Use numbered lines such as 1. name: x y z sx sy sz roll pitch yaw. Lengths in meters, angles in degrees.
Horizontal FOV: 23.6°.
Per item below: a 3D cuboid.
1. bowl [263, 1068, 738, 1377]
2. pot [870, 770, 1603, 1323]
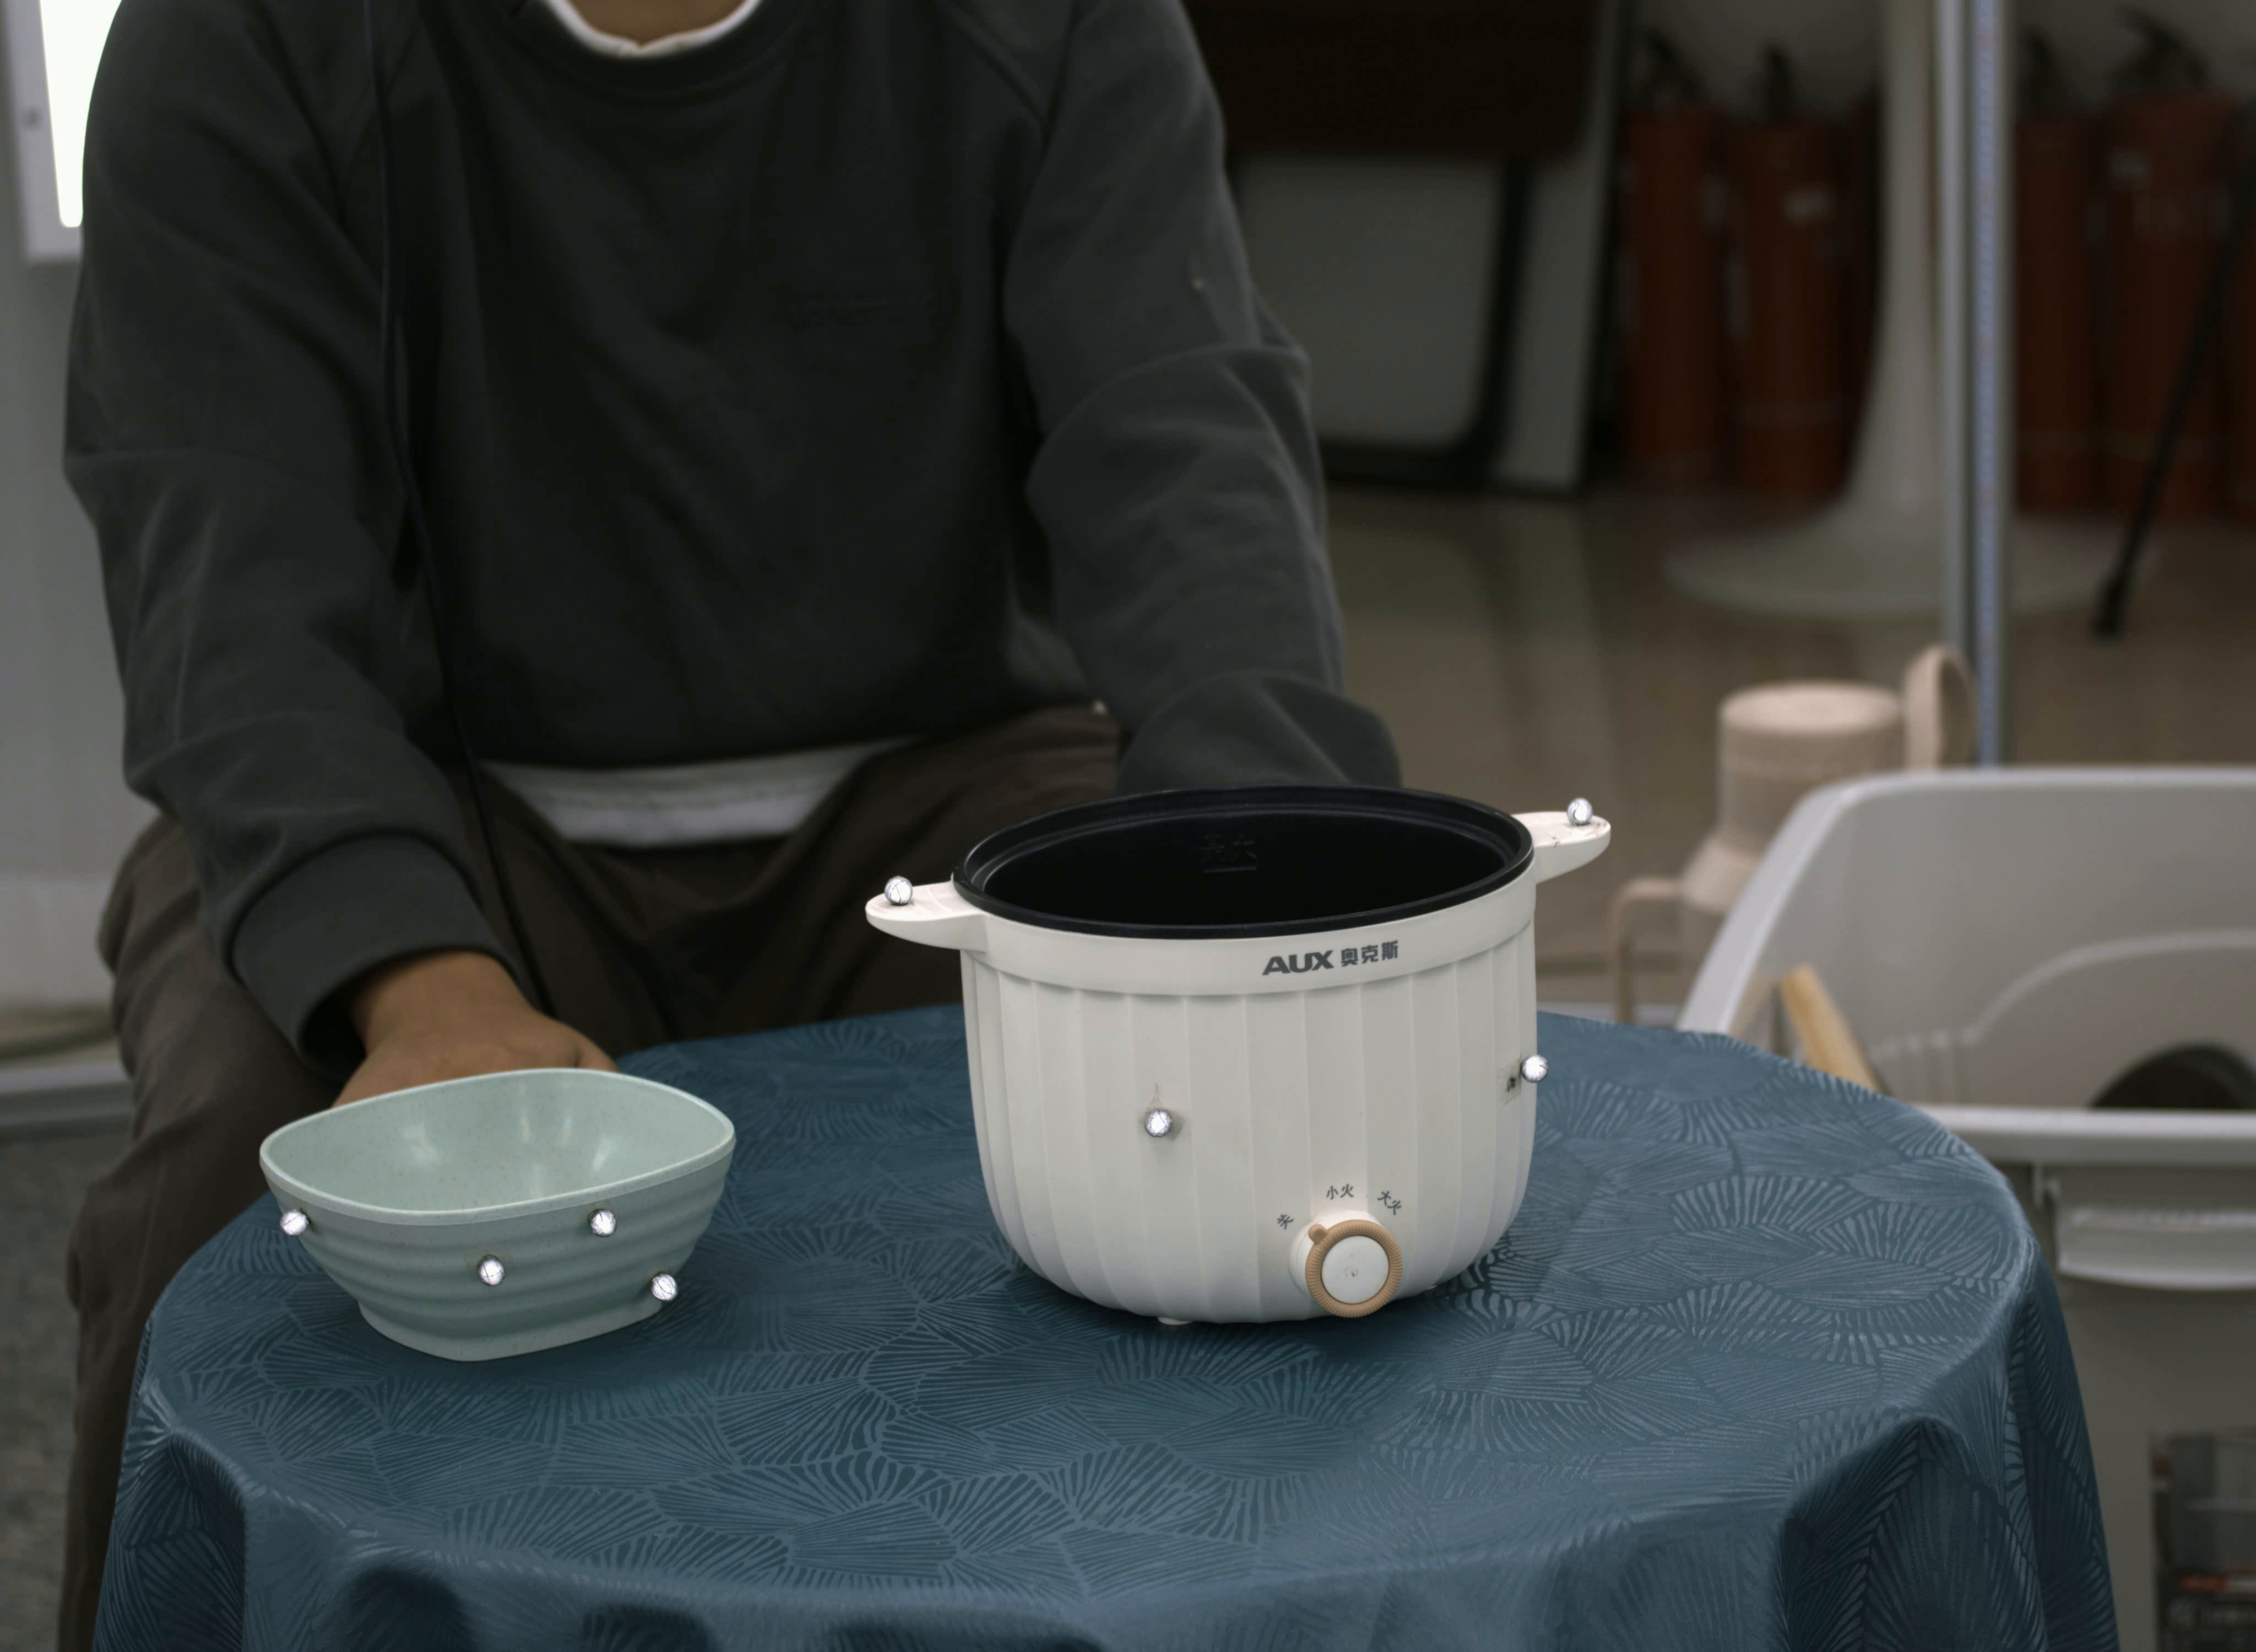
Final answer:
1. bowl: -0.193 0.127 1.689 0.149 0.059 0.152 -3 15 0
2. pot: 0.043 0.070 1.672 0.236 0.144 0.192 -9 11 -14
